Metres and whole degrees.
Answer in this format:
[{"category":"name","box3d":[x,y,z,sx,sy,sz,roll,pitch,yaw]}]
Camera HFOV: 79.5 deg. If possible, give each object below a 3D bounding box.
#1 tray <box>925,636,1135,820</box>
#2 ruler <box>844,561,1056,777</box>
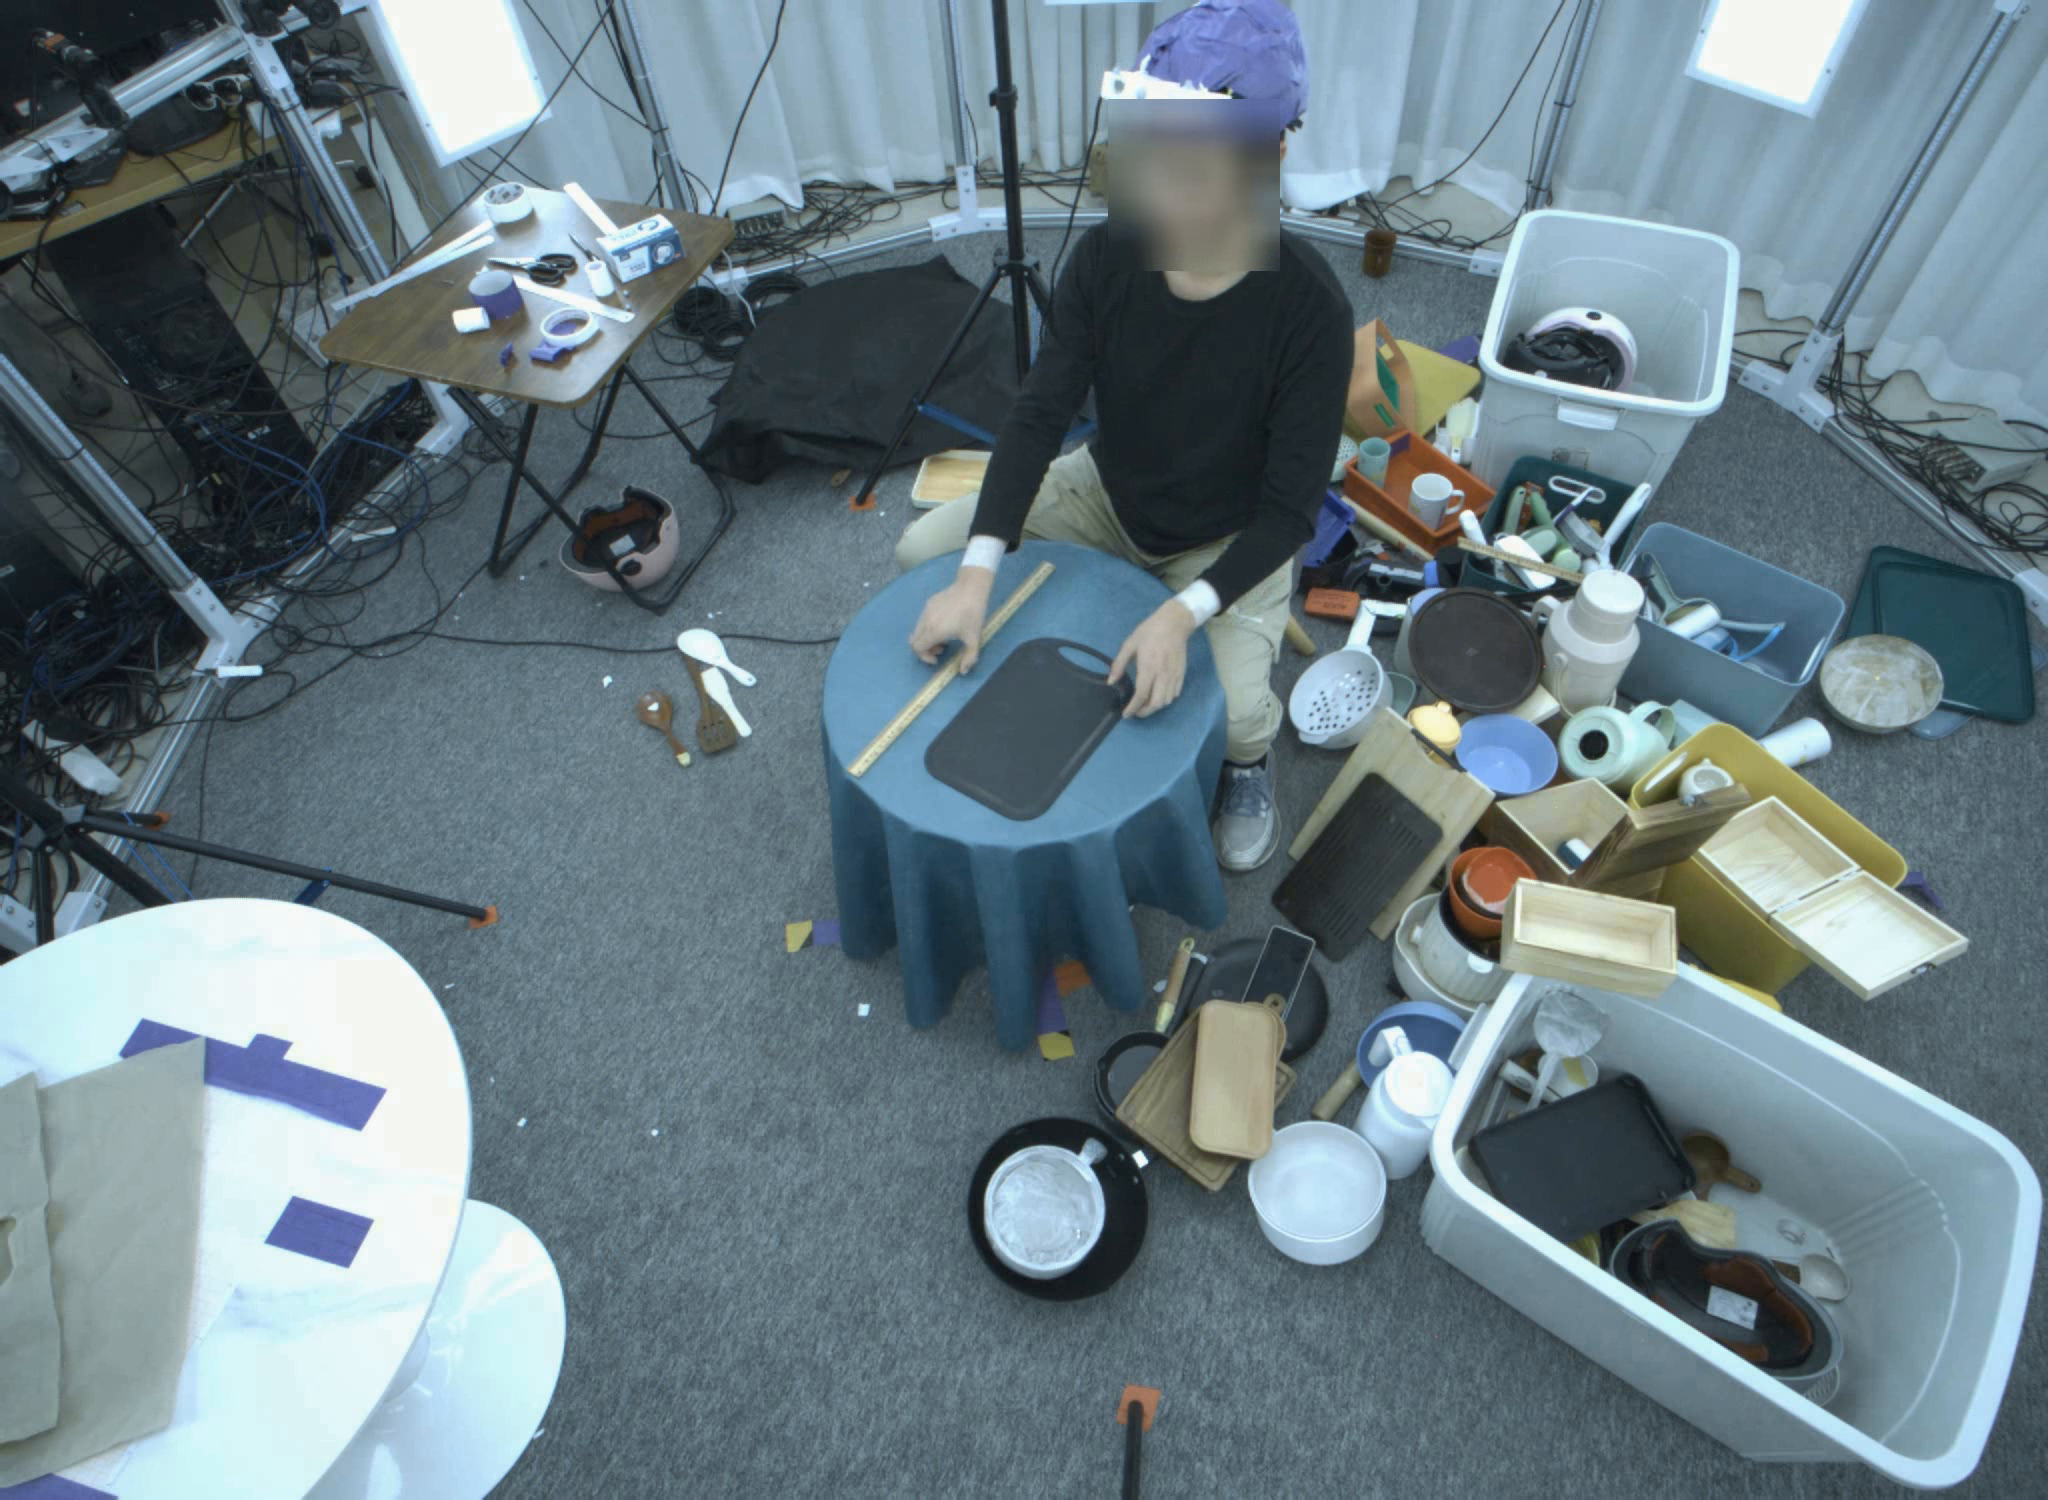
[{"category":"tray","box3d":[0.015,-0.046,1.816,0.208,0.010,0.327,29,61,20]},{"category":"ruler","box3d":[-0.104,-0.134,1.883,0.026,0.006,0.503,32,61,18]}]
